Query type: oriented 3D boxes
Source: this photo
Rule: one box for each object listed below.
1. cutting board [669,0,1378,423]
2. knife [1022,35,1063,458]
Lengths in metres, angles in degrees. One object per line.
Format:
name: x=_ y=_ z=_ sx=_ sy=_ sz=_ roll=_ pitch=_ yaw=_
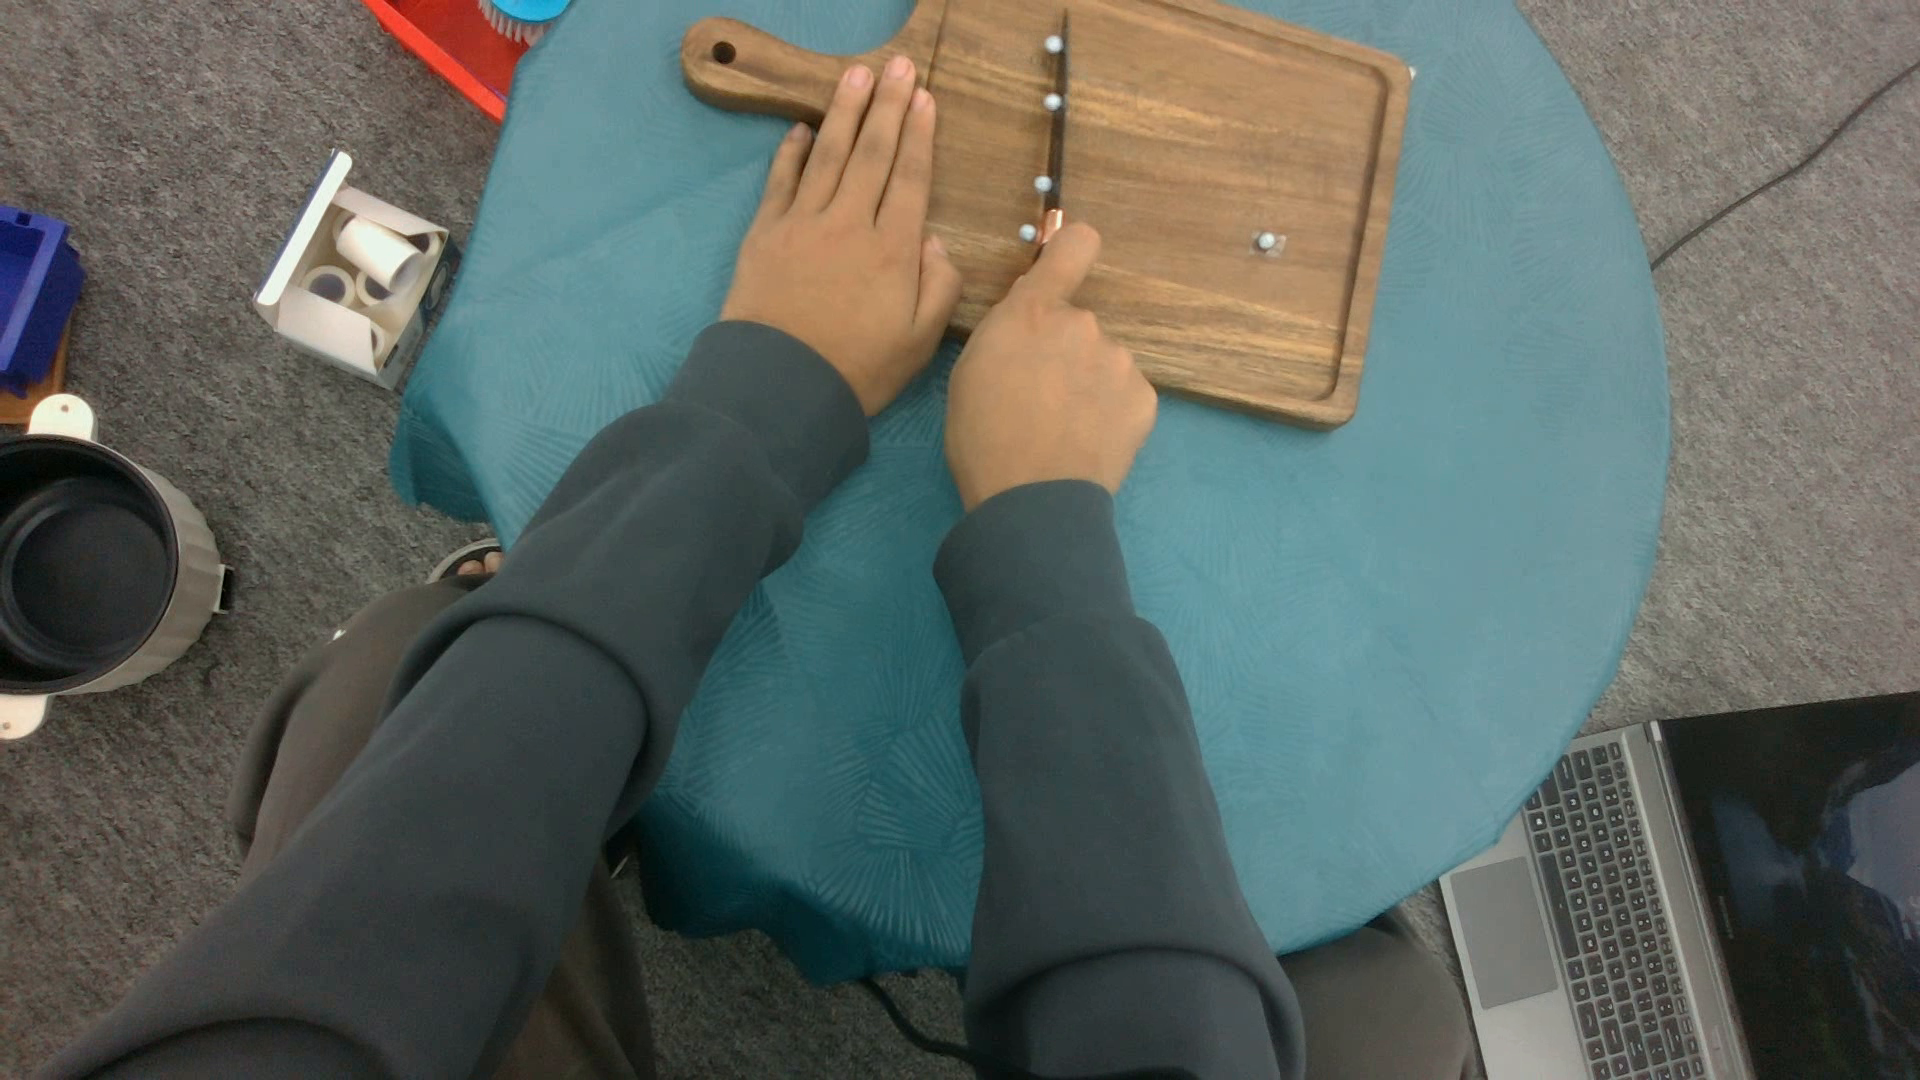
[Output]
cutting board: x=0.034 y=-0.181 z=0.681 sx=0.352 sy=0.023 sz=0.201 roll=10 pitch=79 yaw=-7
knife: x=0.040 y=-0.146 z=0.659 sx=0.017 sy=0.026 sz=0.226 roll=6 pitch=75 yaw=-15
